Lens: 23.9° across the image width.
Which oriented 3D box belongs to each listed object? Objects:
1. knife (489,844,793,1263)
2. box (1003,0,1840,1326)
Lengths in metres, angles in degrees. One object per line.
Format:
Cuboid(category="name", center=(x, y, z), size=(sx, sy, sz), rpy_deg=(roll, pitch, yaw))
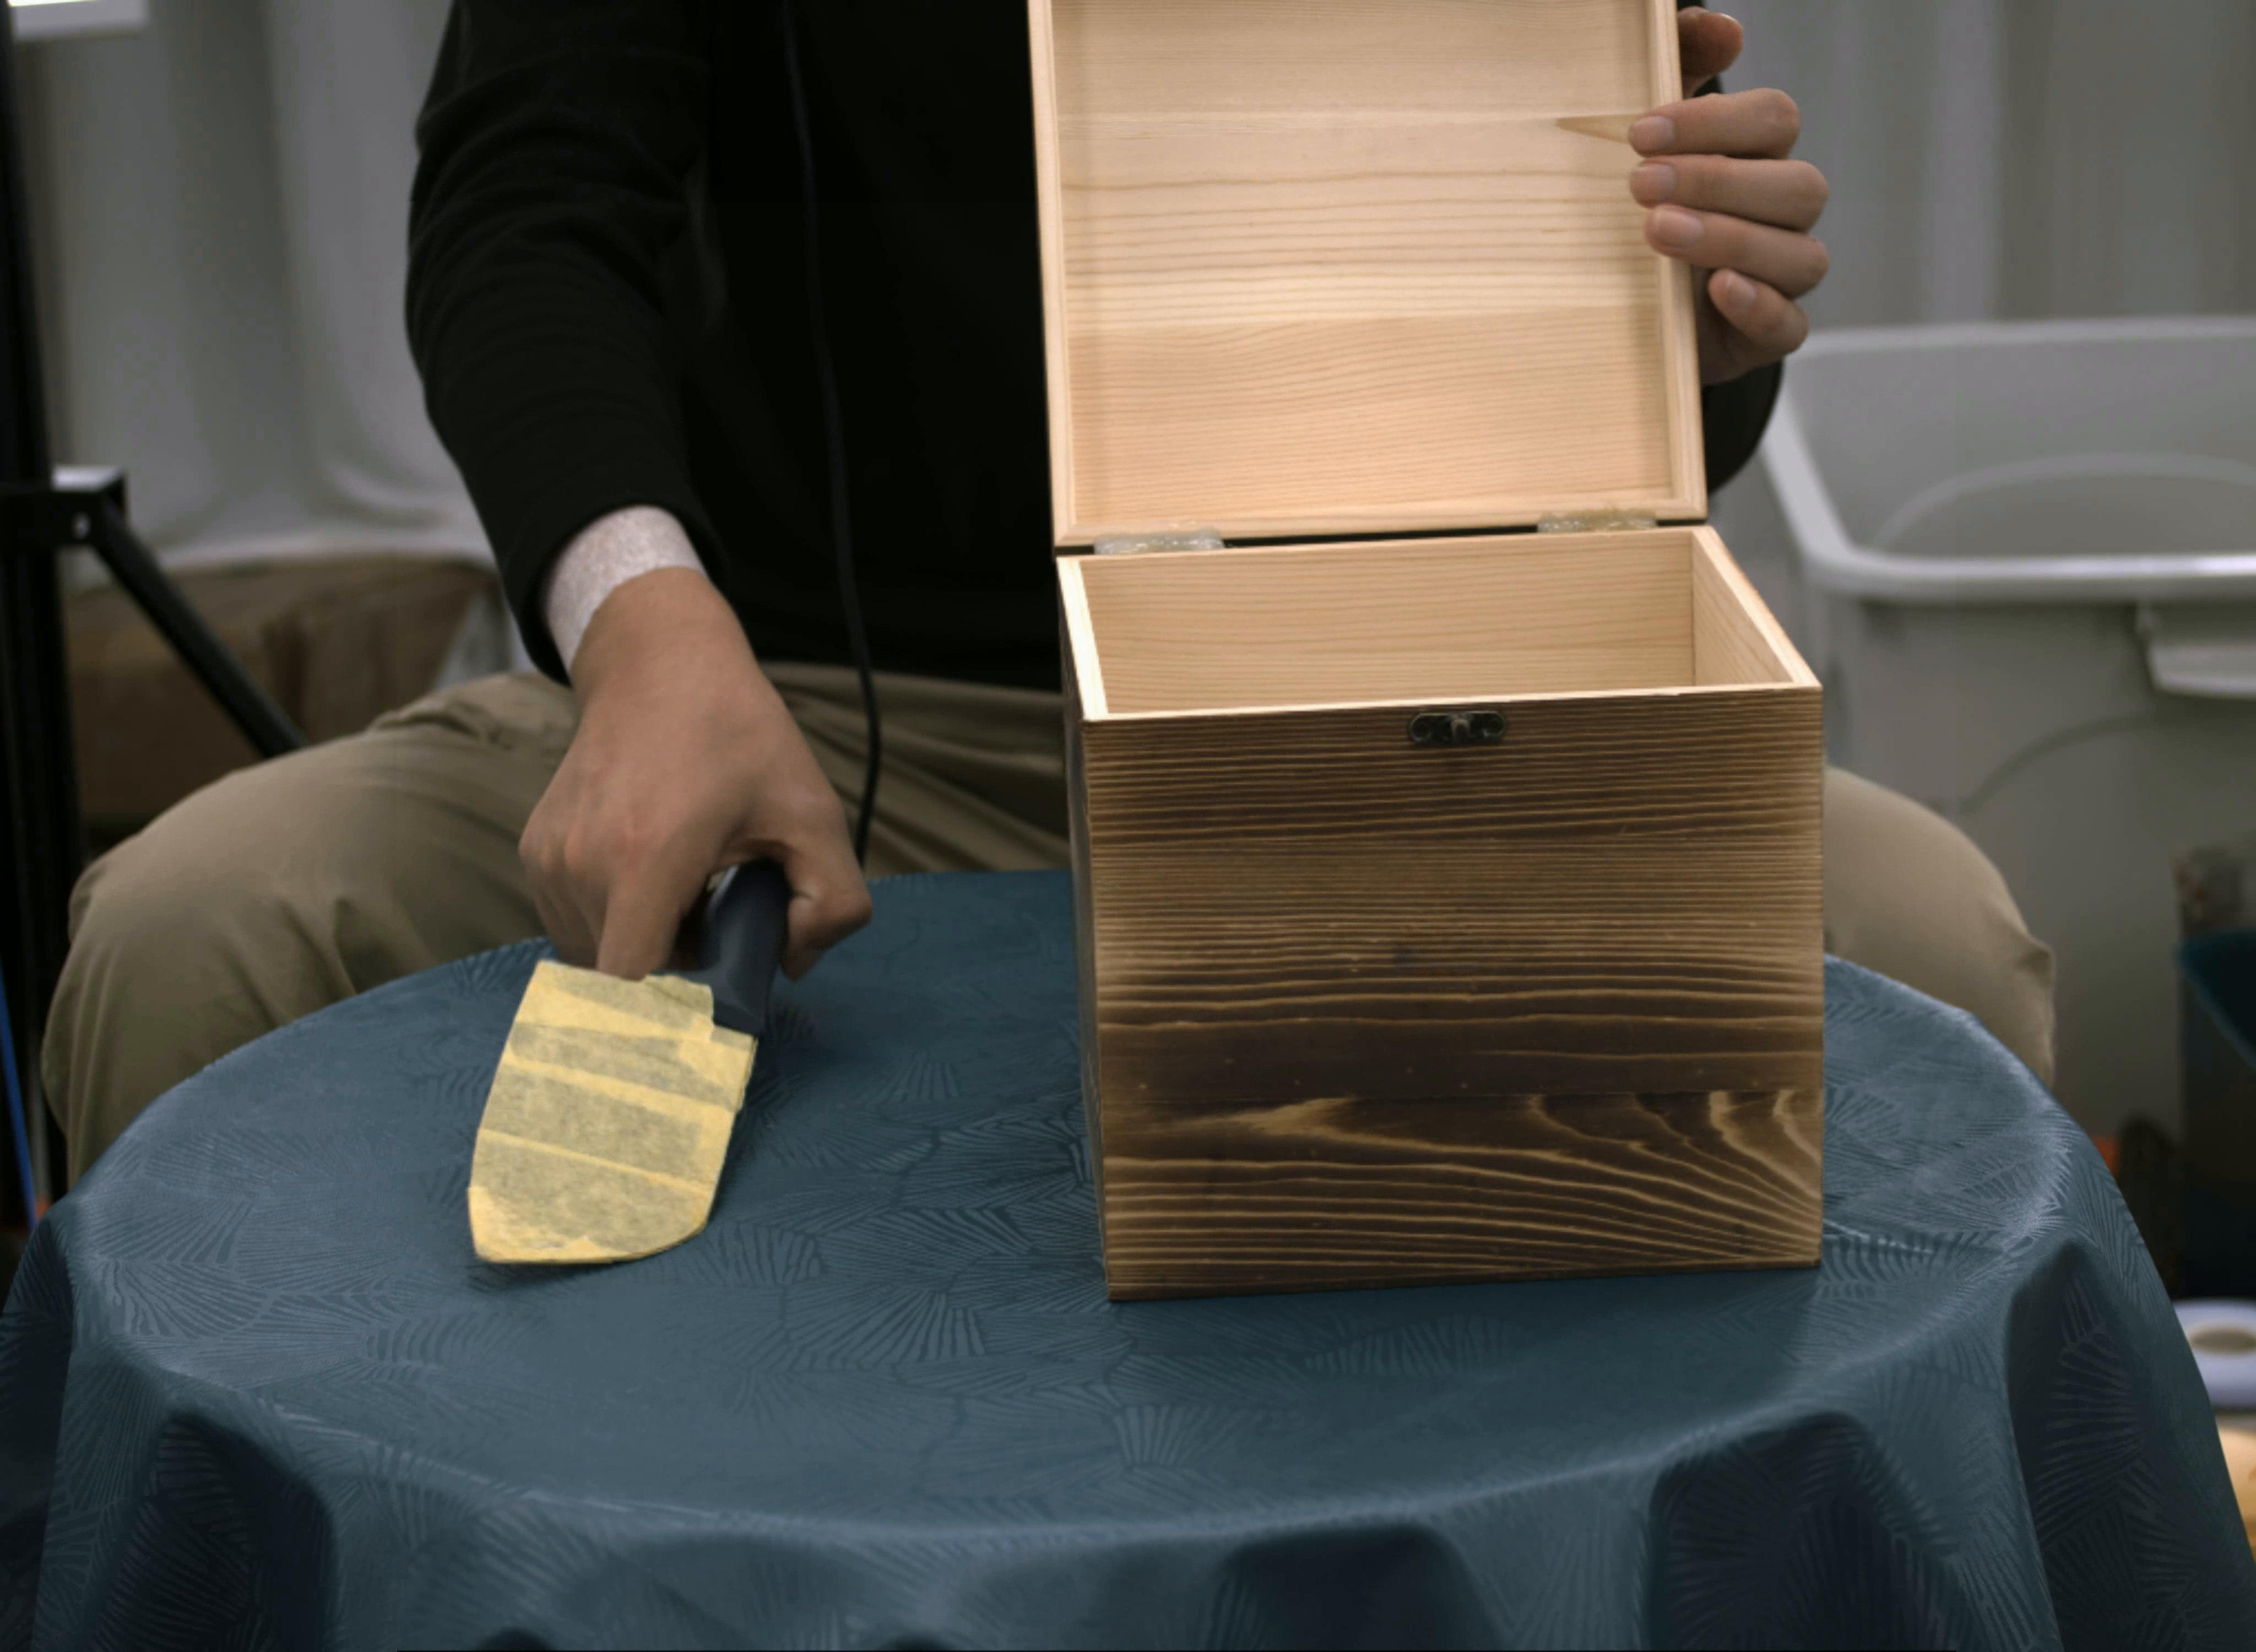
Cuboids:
Cuboid(category="knife", center=(-0.146, 0.066, 1.635), size=(0.081, 0.027, 0.289), rpy_deg=(19, 23, -1))
Cuboid(category="box", center=(0.078, -0.085, 1.569), size=(0.207, 0.375, 0.324), rpy_deg=(-4, 14, -1))
